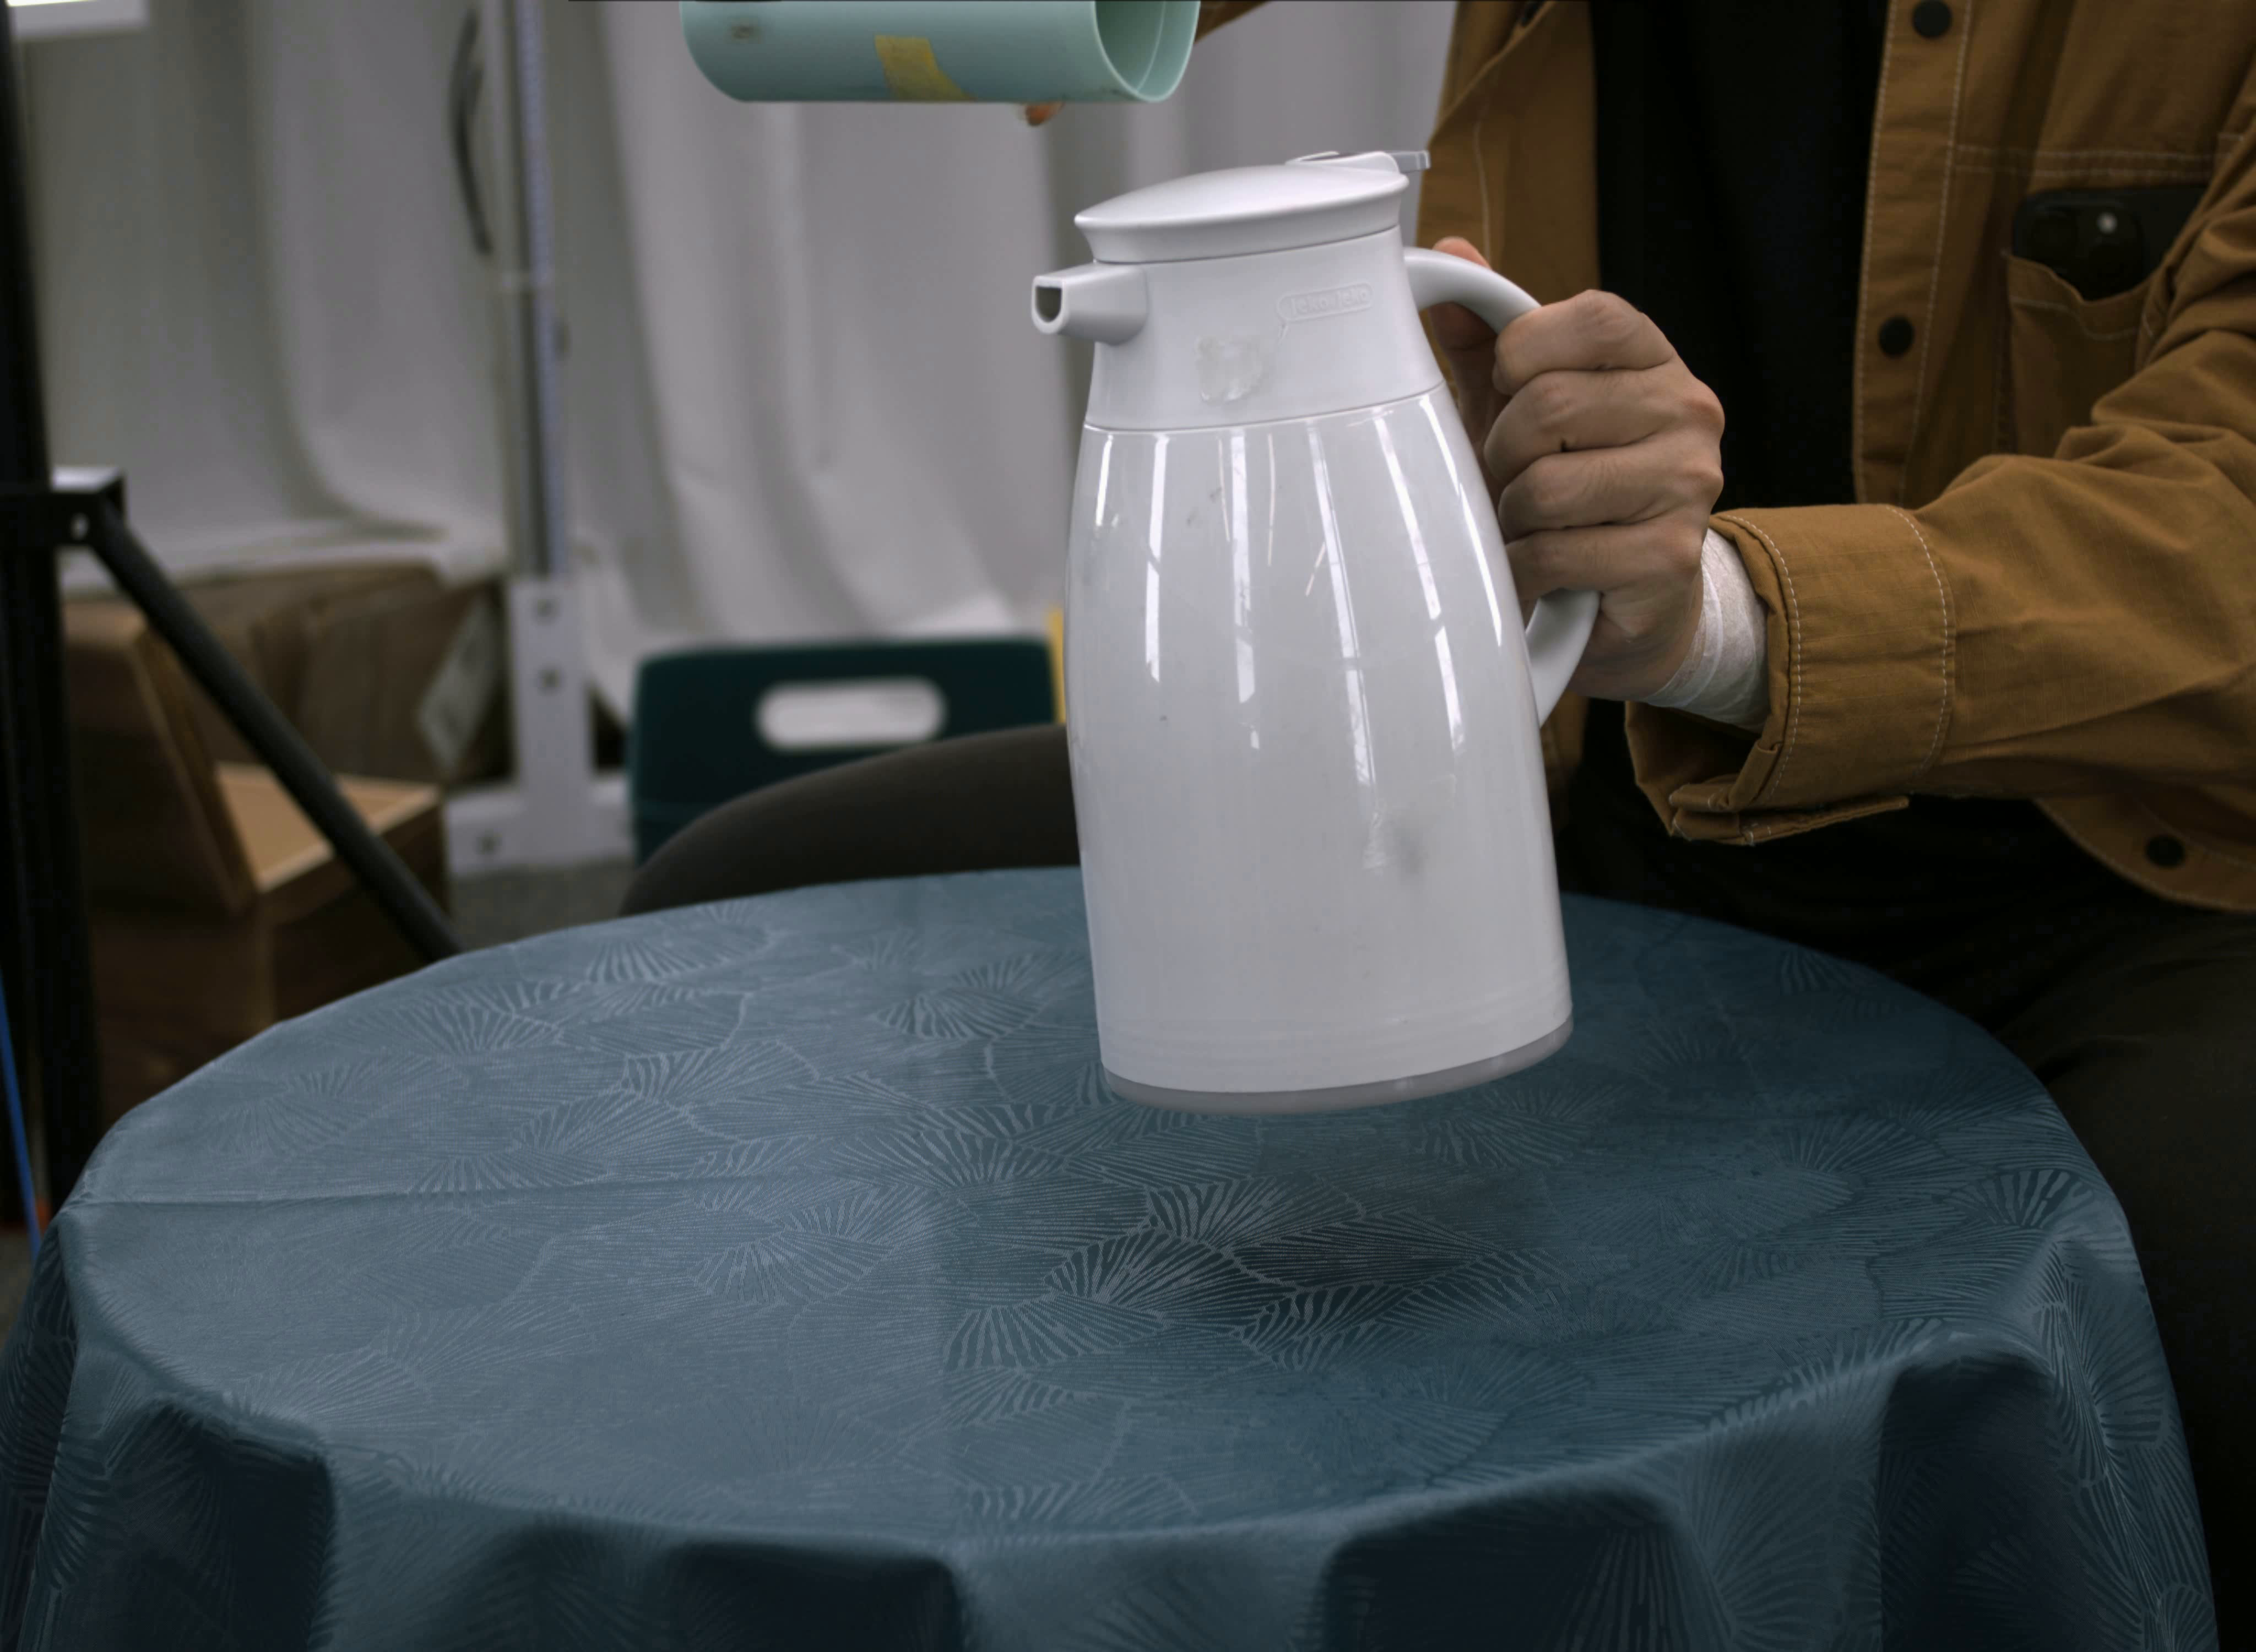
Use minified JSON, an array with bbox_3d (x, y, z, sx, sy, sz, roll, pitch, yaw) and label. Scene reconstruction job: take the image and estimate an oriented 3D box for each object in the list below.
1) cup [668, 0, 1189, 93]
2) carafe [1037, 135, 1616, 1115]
[{"bbox_3d":[-0.054,-0.235,1.466,0.134,0.067,0.065,4,17,29],"label":"cup"},{"bbox_3d":[0.061,-0.061,1.459,0.164,0.249,0.135,-11,11,-26],"label":"carafe"}]
